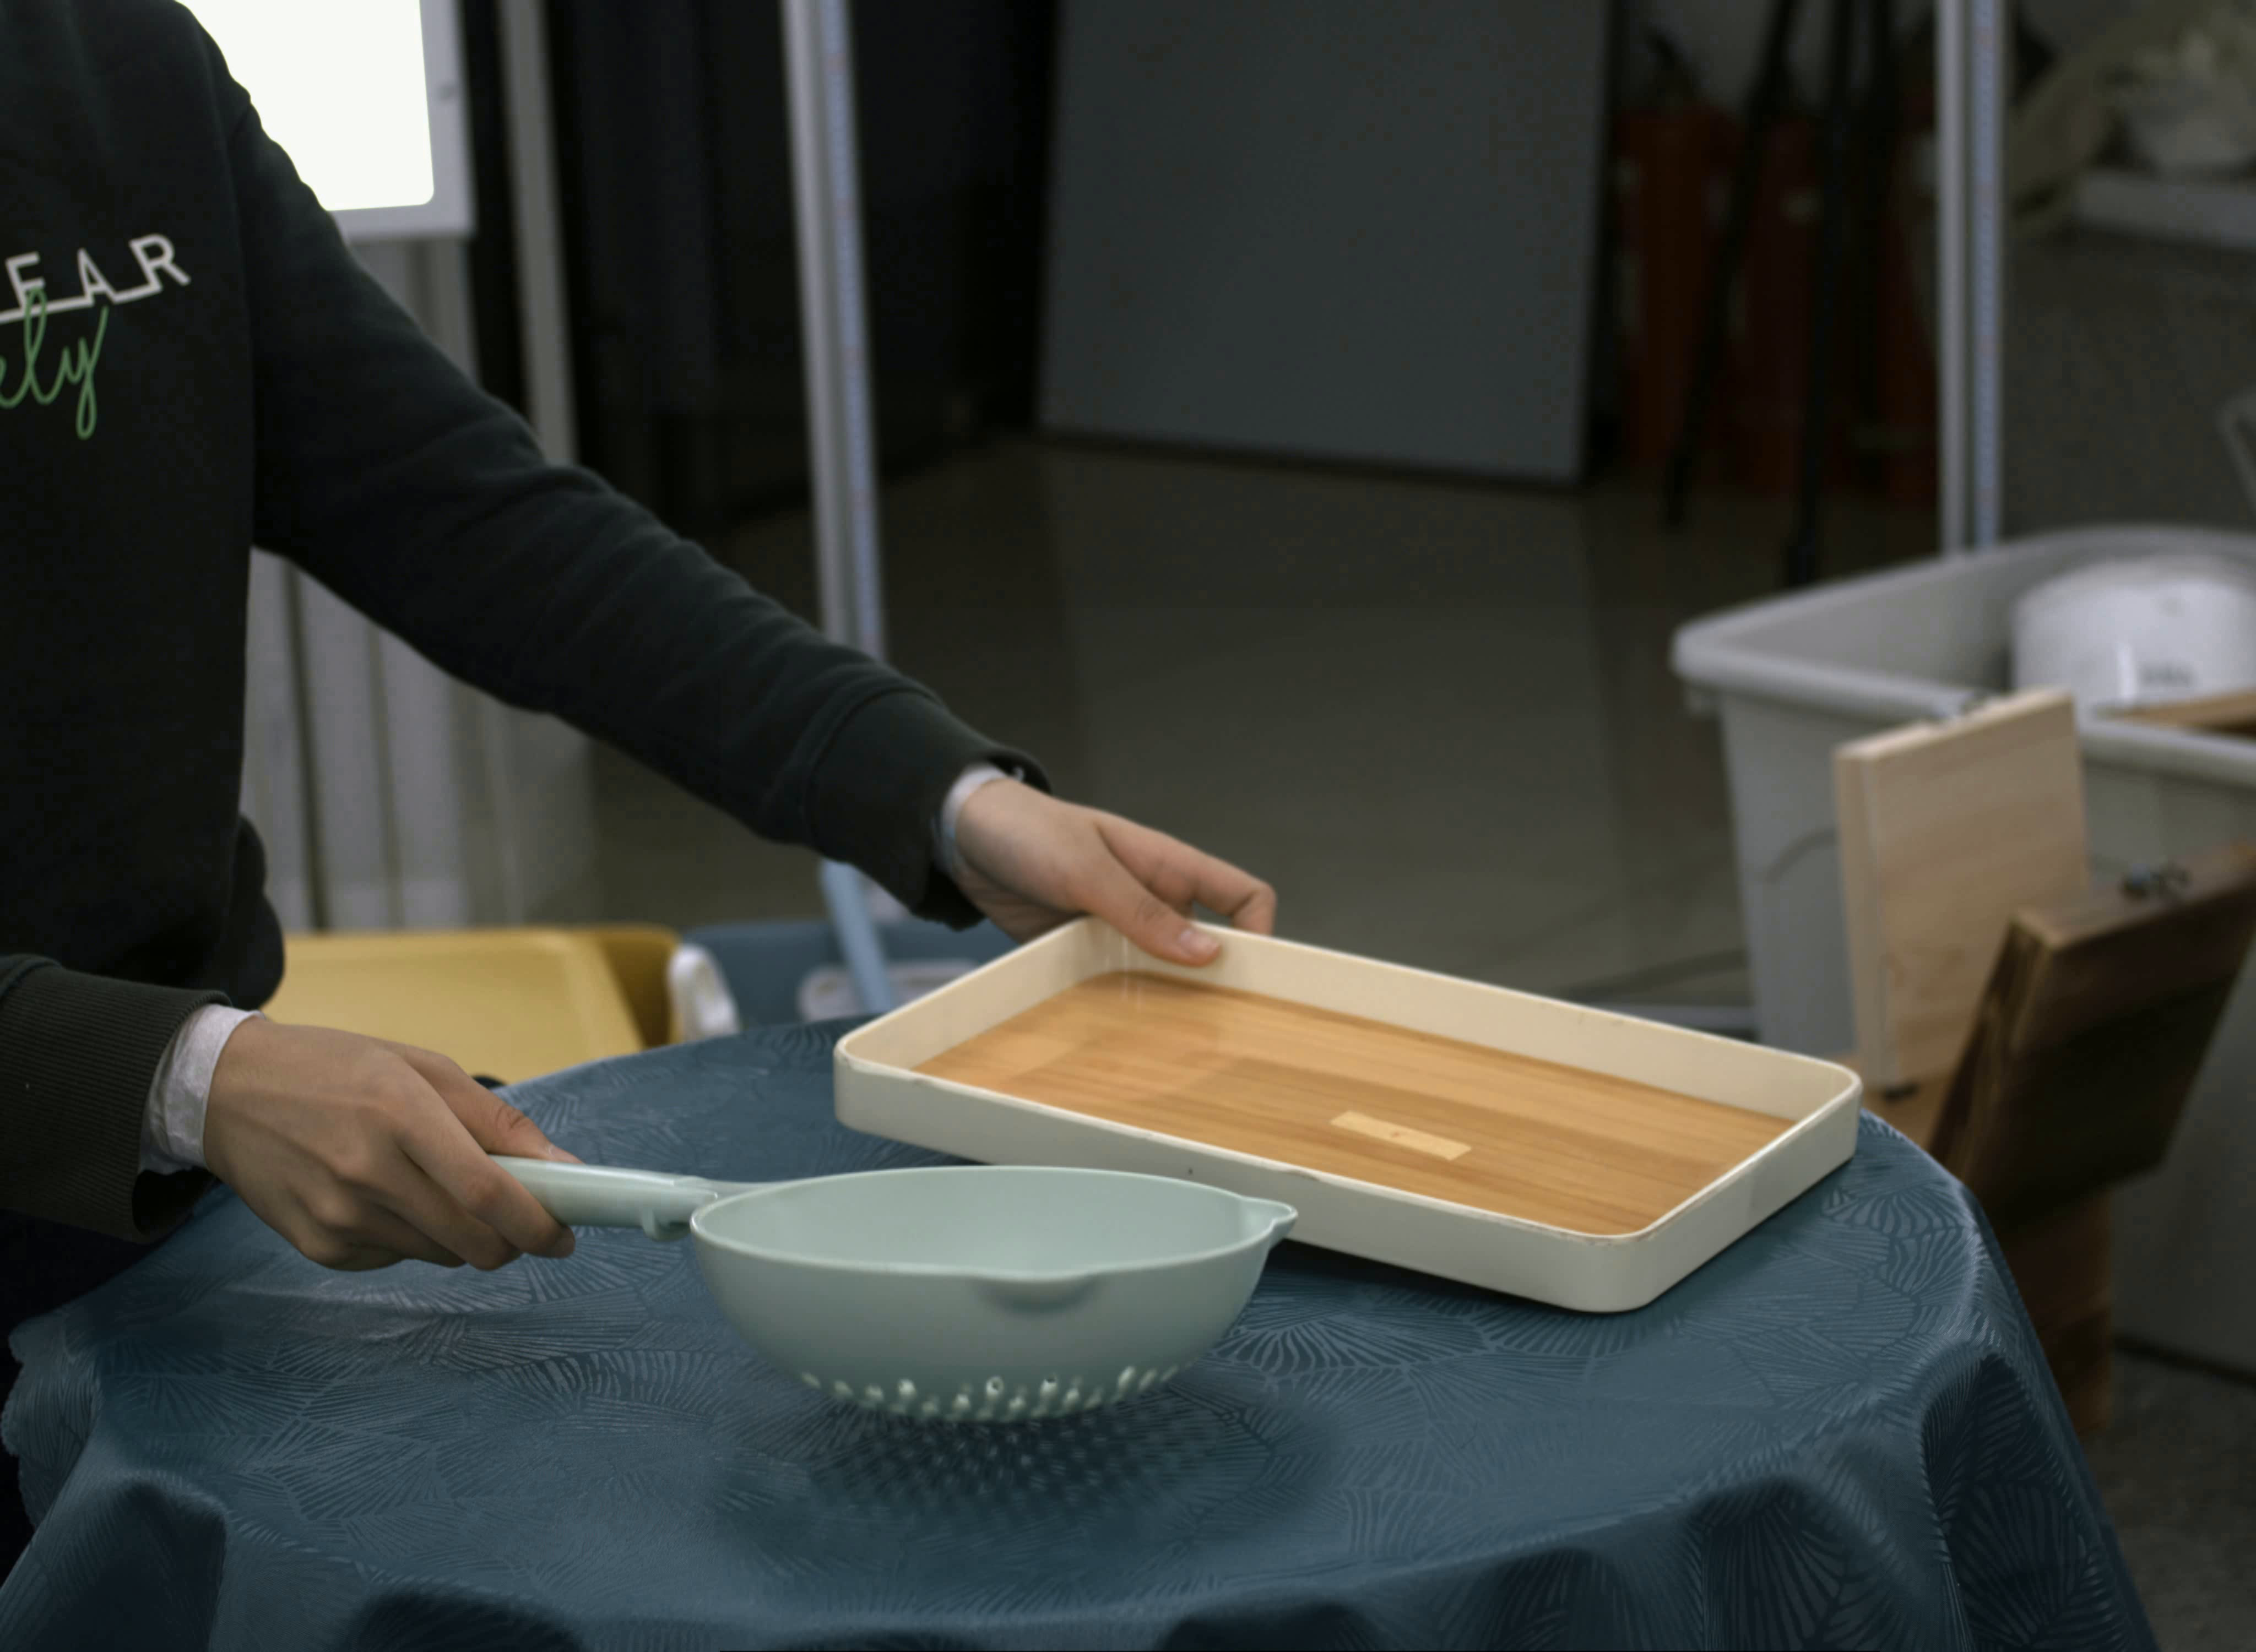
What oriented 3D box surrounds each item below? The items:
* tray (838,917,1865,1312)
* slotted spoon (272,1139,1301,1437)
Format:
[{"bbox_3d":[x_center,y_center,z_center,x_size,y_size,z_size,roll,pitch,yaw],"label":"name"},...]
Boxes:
[{"bbox_3d":[0.072,0.090,1.761,0.302,0.028,0.188,12,20,31],"label":"tray"},{"bbox_3d":[-0.120,0.121,1.610,0.361,0.076,0.166,14,13,34],"label":"slotted spoon"}]
